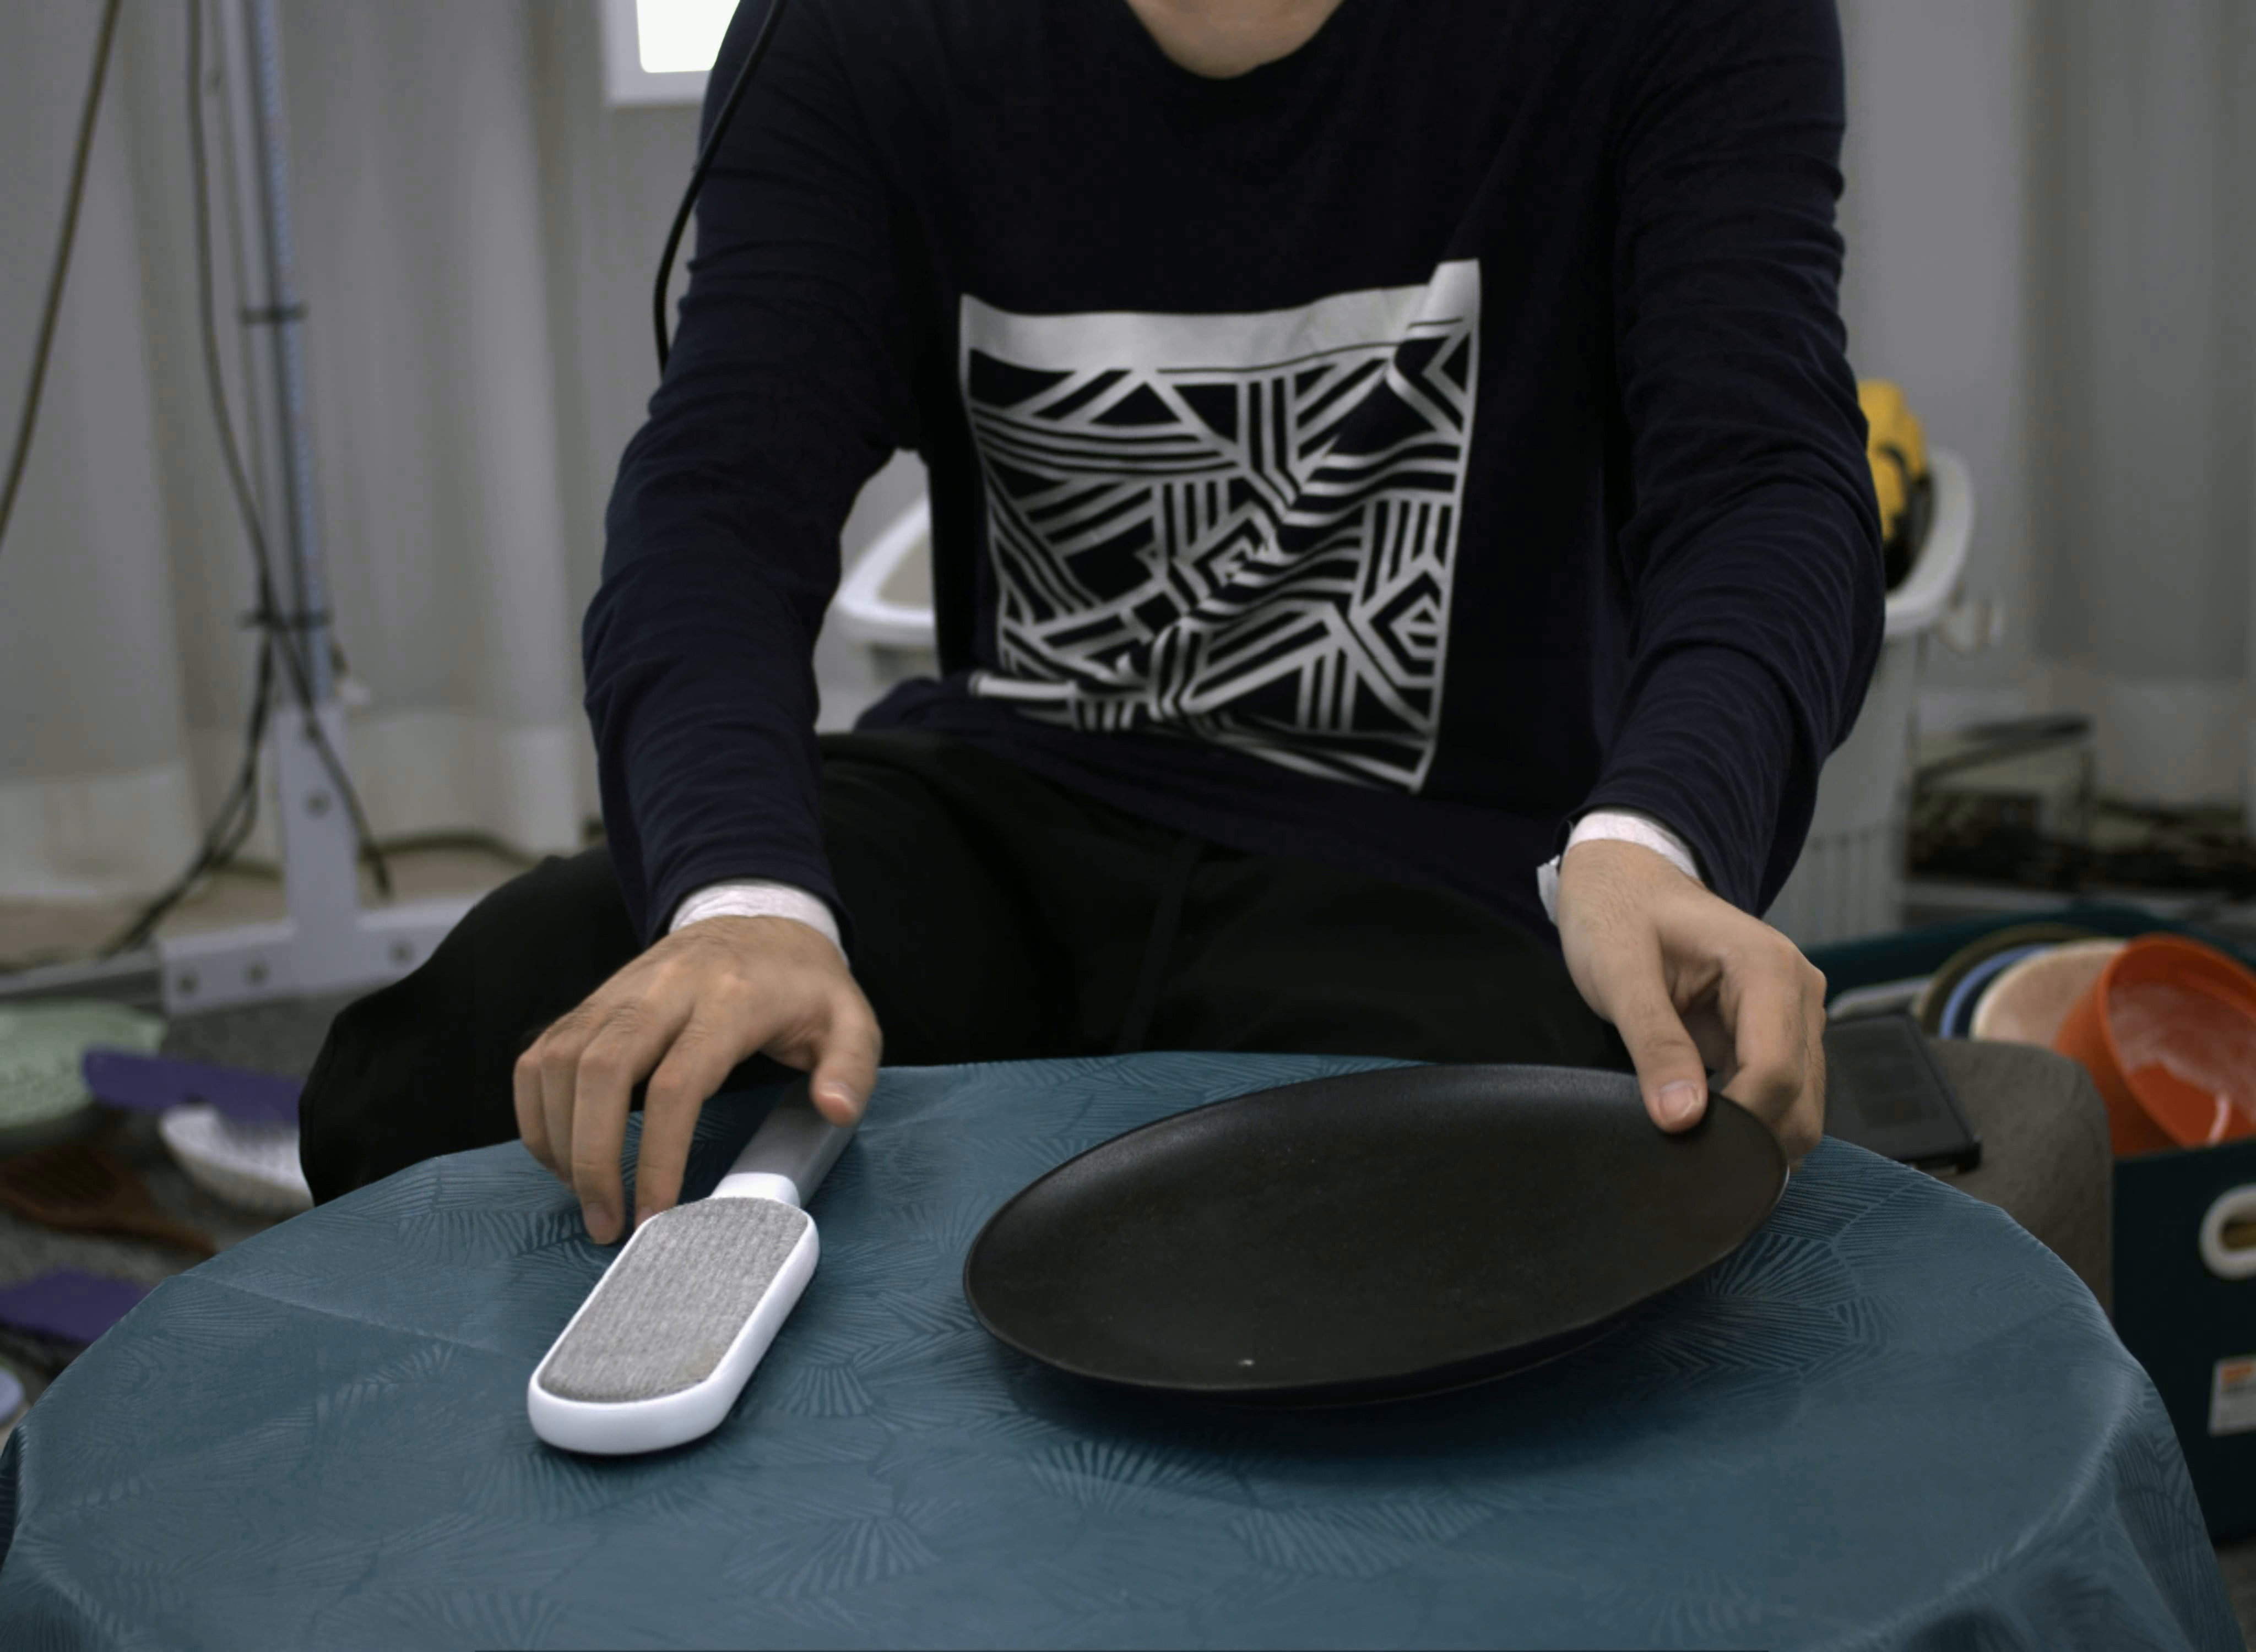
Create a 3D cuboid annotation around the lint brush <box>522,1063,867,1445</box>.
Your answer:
[{"bbox_3d":[-0.120,0.125,1.649,0.060,0.021,0.310,-5,14,11],"label":"lint brush"}]

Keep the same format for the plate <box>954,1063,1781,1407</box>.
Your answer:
[{"bbox_3d":[0.070,0.122,1.593,0.243,0.023,0.246,-8,17,2],"label":"plate"}]
